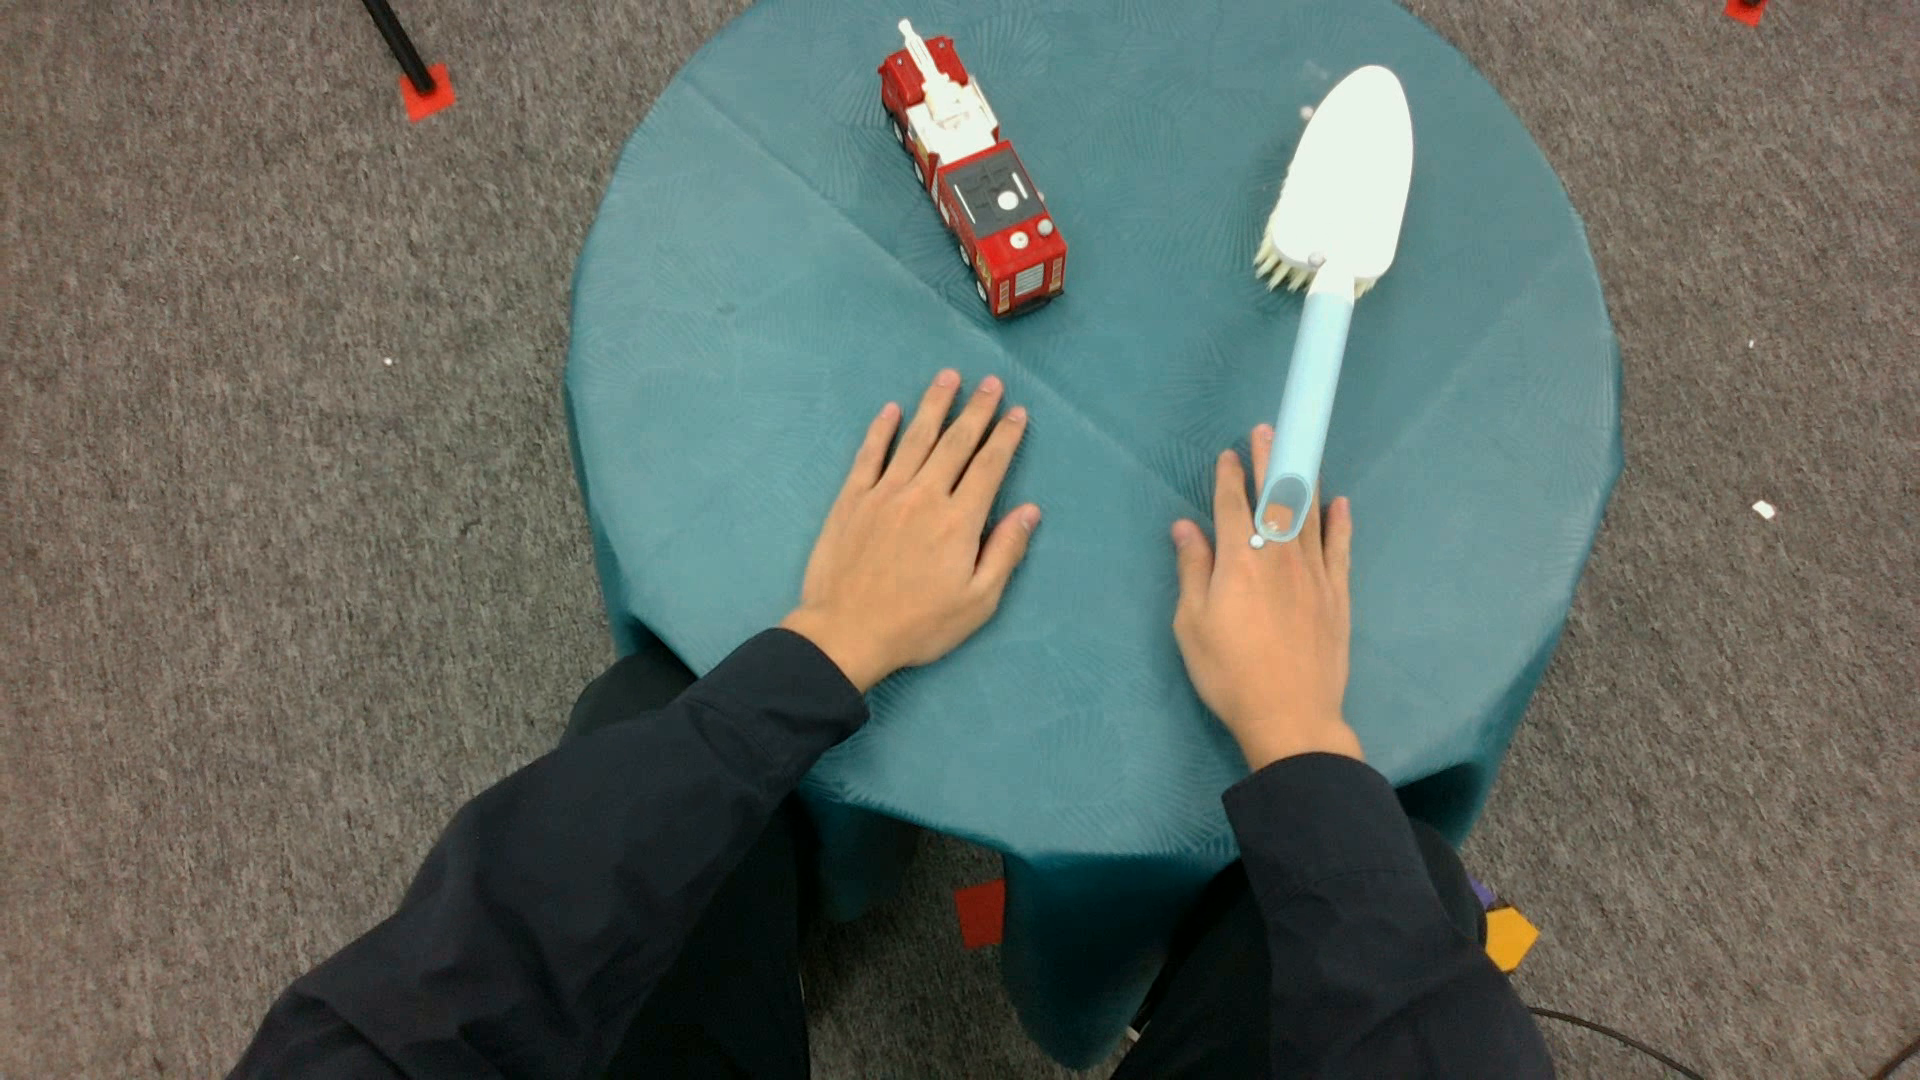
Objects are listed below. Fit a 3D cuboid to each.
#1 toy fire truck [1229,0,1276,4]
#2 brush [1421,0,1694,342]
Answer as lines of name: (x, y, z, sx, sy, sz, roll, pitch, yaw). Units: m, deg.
toy fire truck: (0.147, -0.368, 0.717, 0.054, 0.070, 0.168, -12, 86, 0)
brush: (0.293, -0.219, 0.693, 0.083, 0.084, 0.326, 20, 70, 38)
